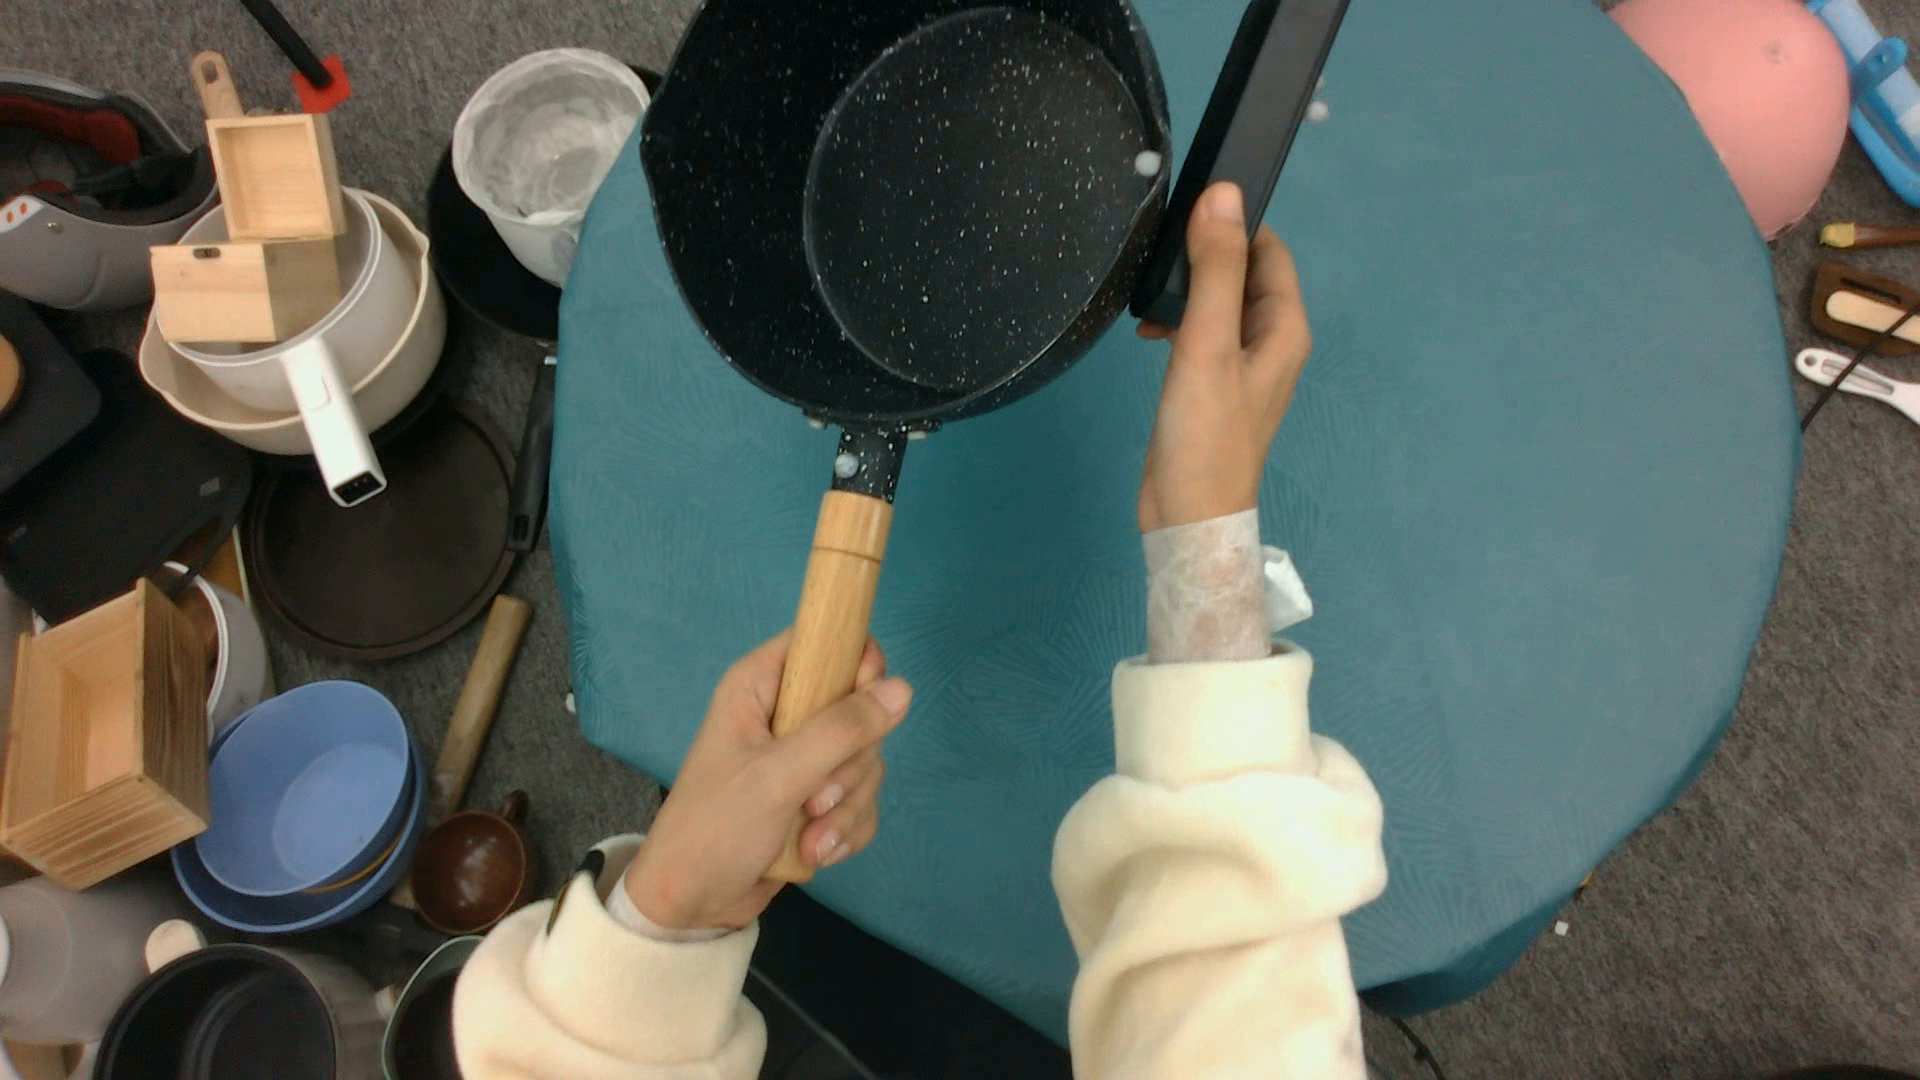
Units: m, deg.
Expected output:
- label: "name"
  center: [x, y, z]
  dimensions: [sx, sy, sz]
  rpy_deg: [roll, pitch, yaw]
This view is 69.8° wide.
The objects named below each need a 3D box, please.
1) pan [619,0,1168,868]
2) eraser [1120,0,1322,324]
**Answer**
- label: "pan"
  center: [-0.028, -0.057, 0.498]
  dimensions: [0.207, 0.108, 0.342]
  rpy_deg: [7, 91, 21]
- label: "eraser"
  center: [0.095, -0.144, 0.498]
  dimensions: [0.030, 0.053, 0.125]
  rpy_deg: [21, 87, 0]
